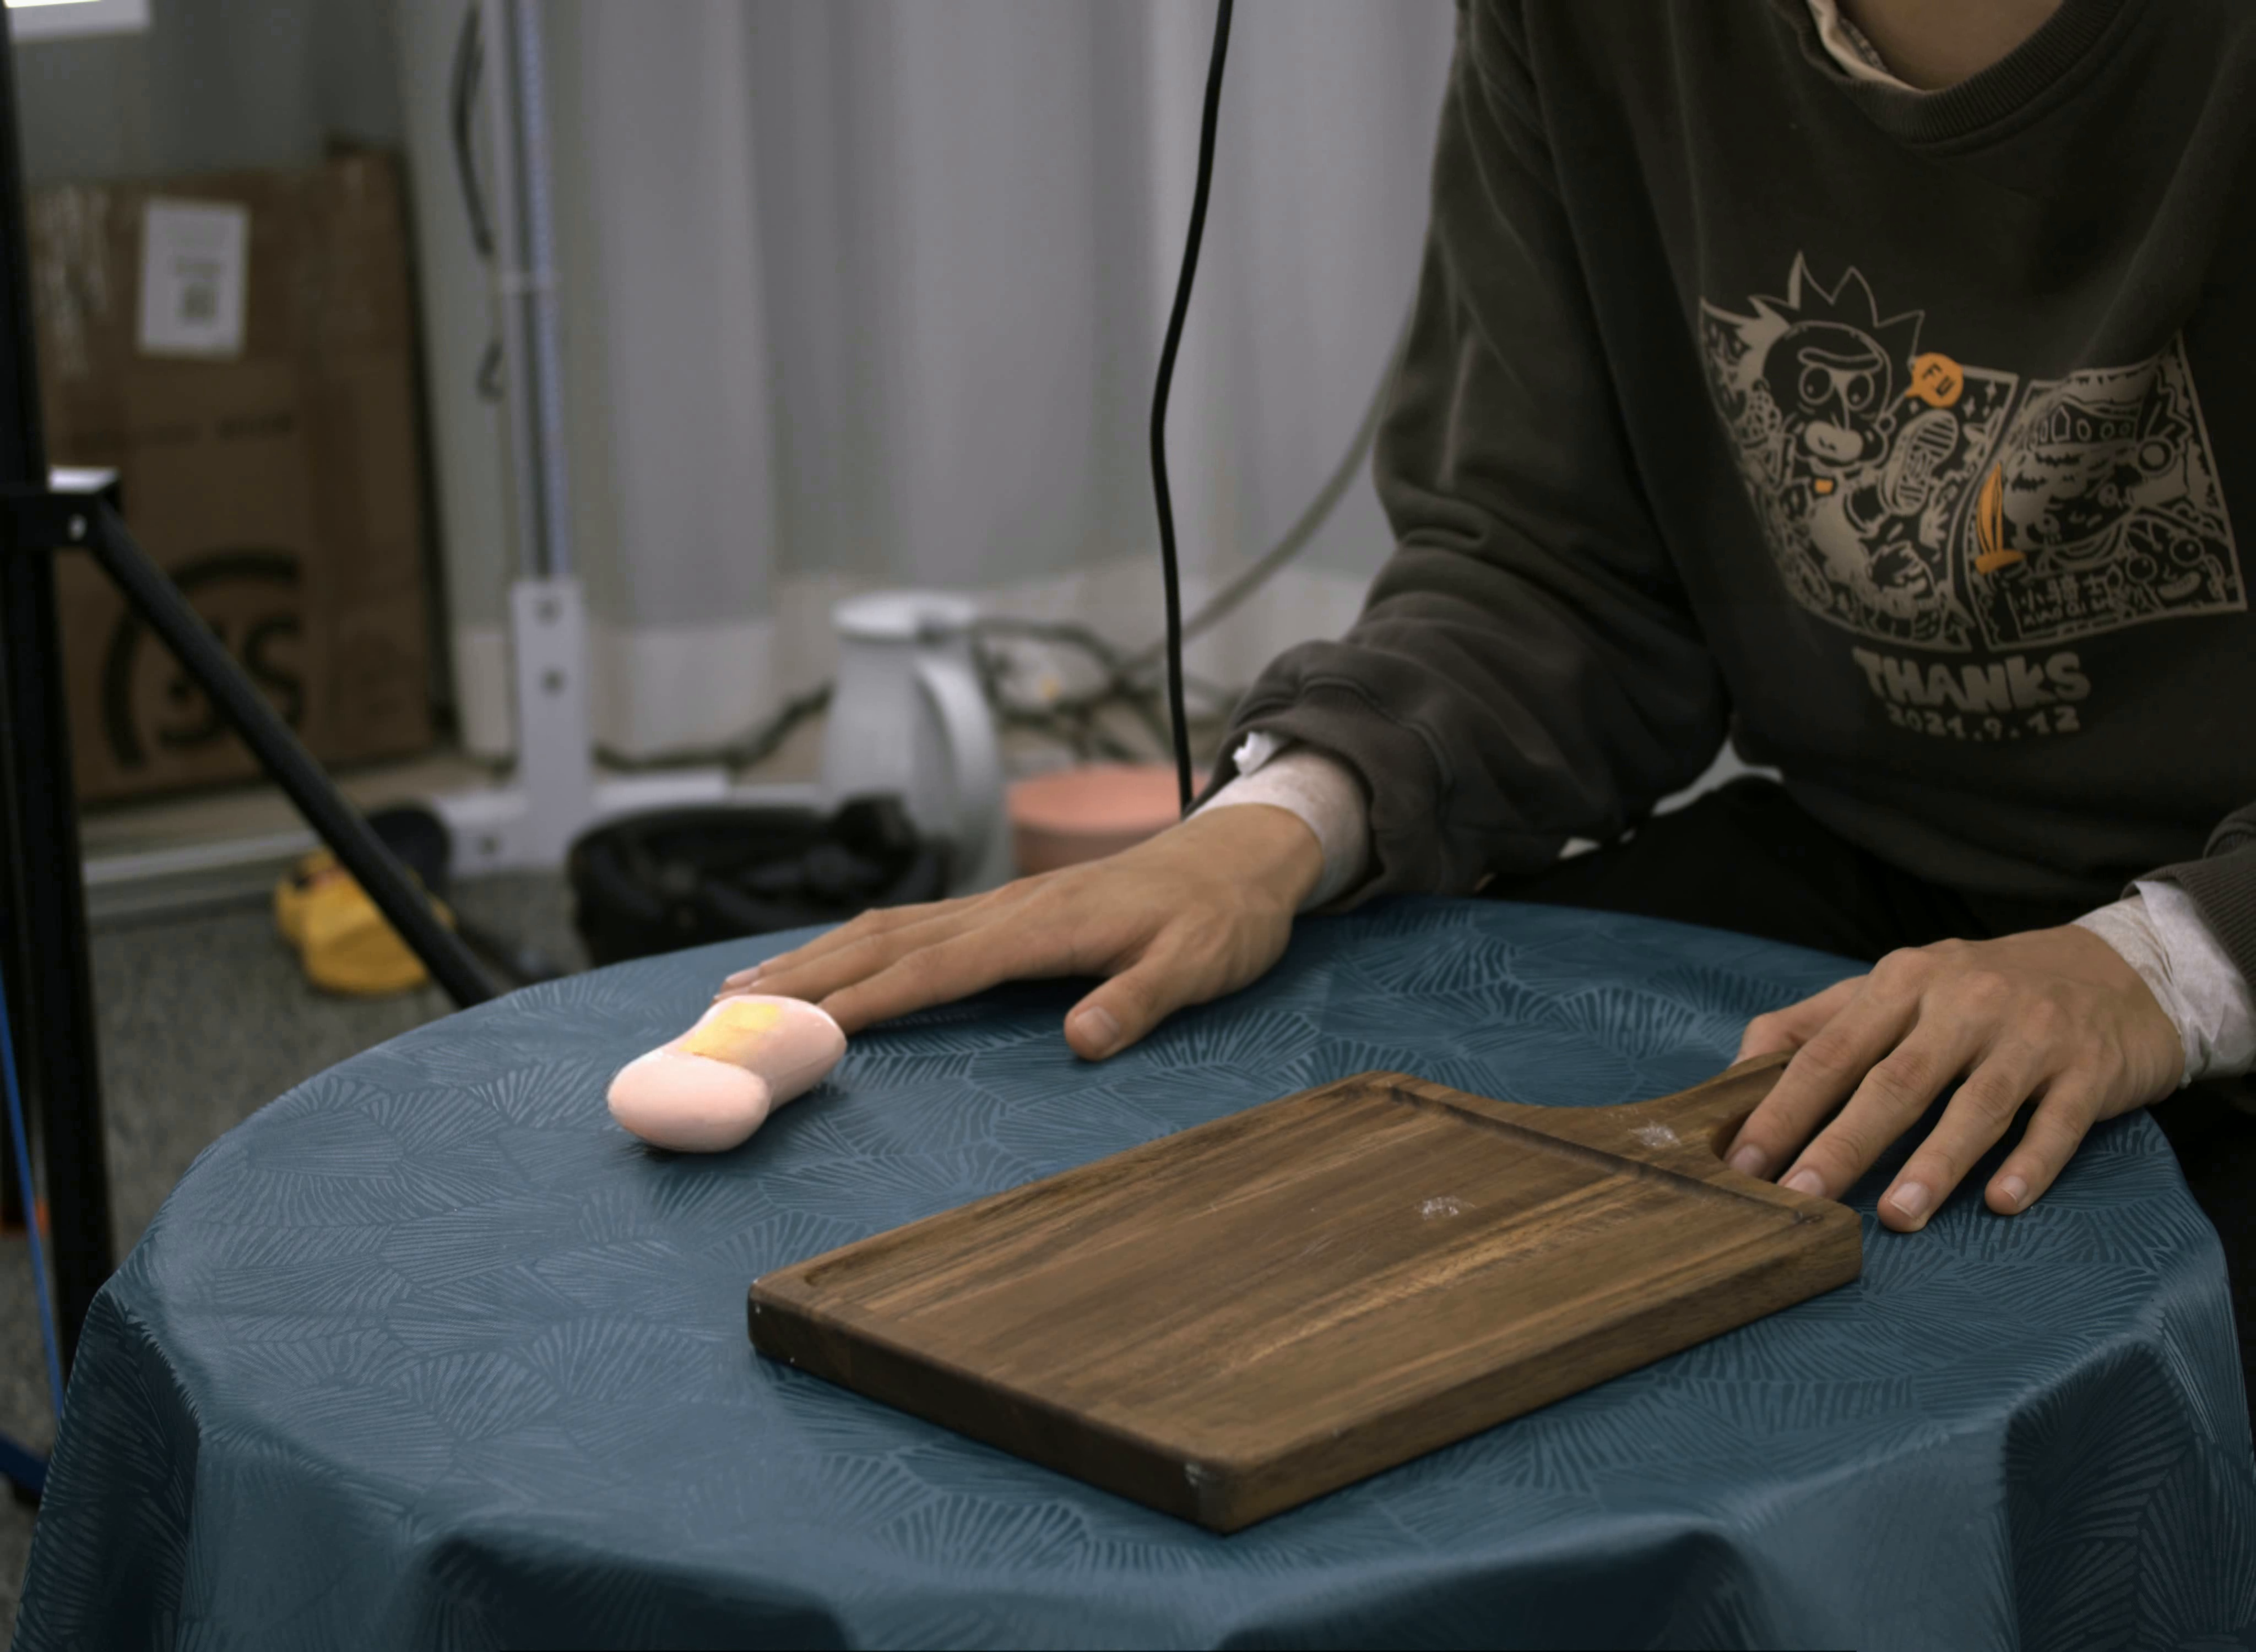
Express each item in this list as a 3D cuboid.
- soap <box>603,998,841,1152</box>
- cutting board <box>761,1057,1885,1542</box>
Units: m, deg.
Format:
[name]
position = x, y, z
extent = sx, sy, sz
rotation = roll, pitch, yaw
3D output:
[soap]
position = -0.125, 0.077, 1.644
extent = 0.051, 0.030, 0.093
rotation = 4, 16, 21
[cutting board]
position = 0.091, 0.117, 1.477
extent = 0.344, 0.023, 0.206
rotation = -15, 20, -38
